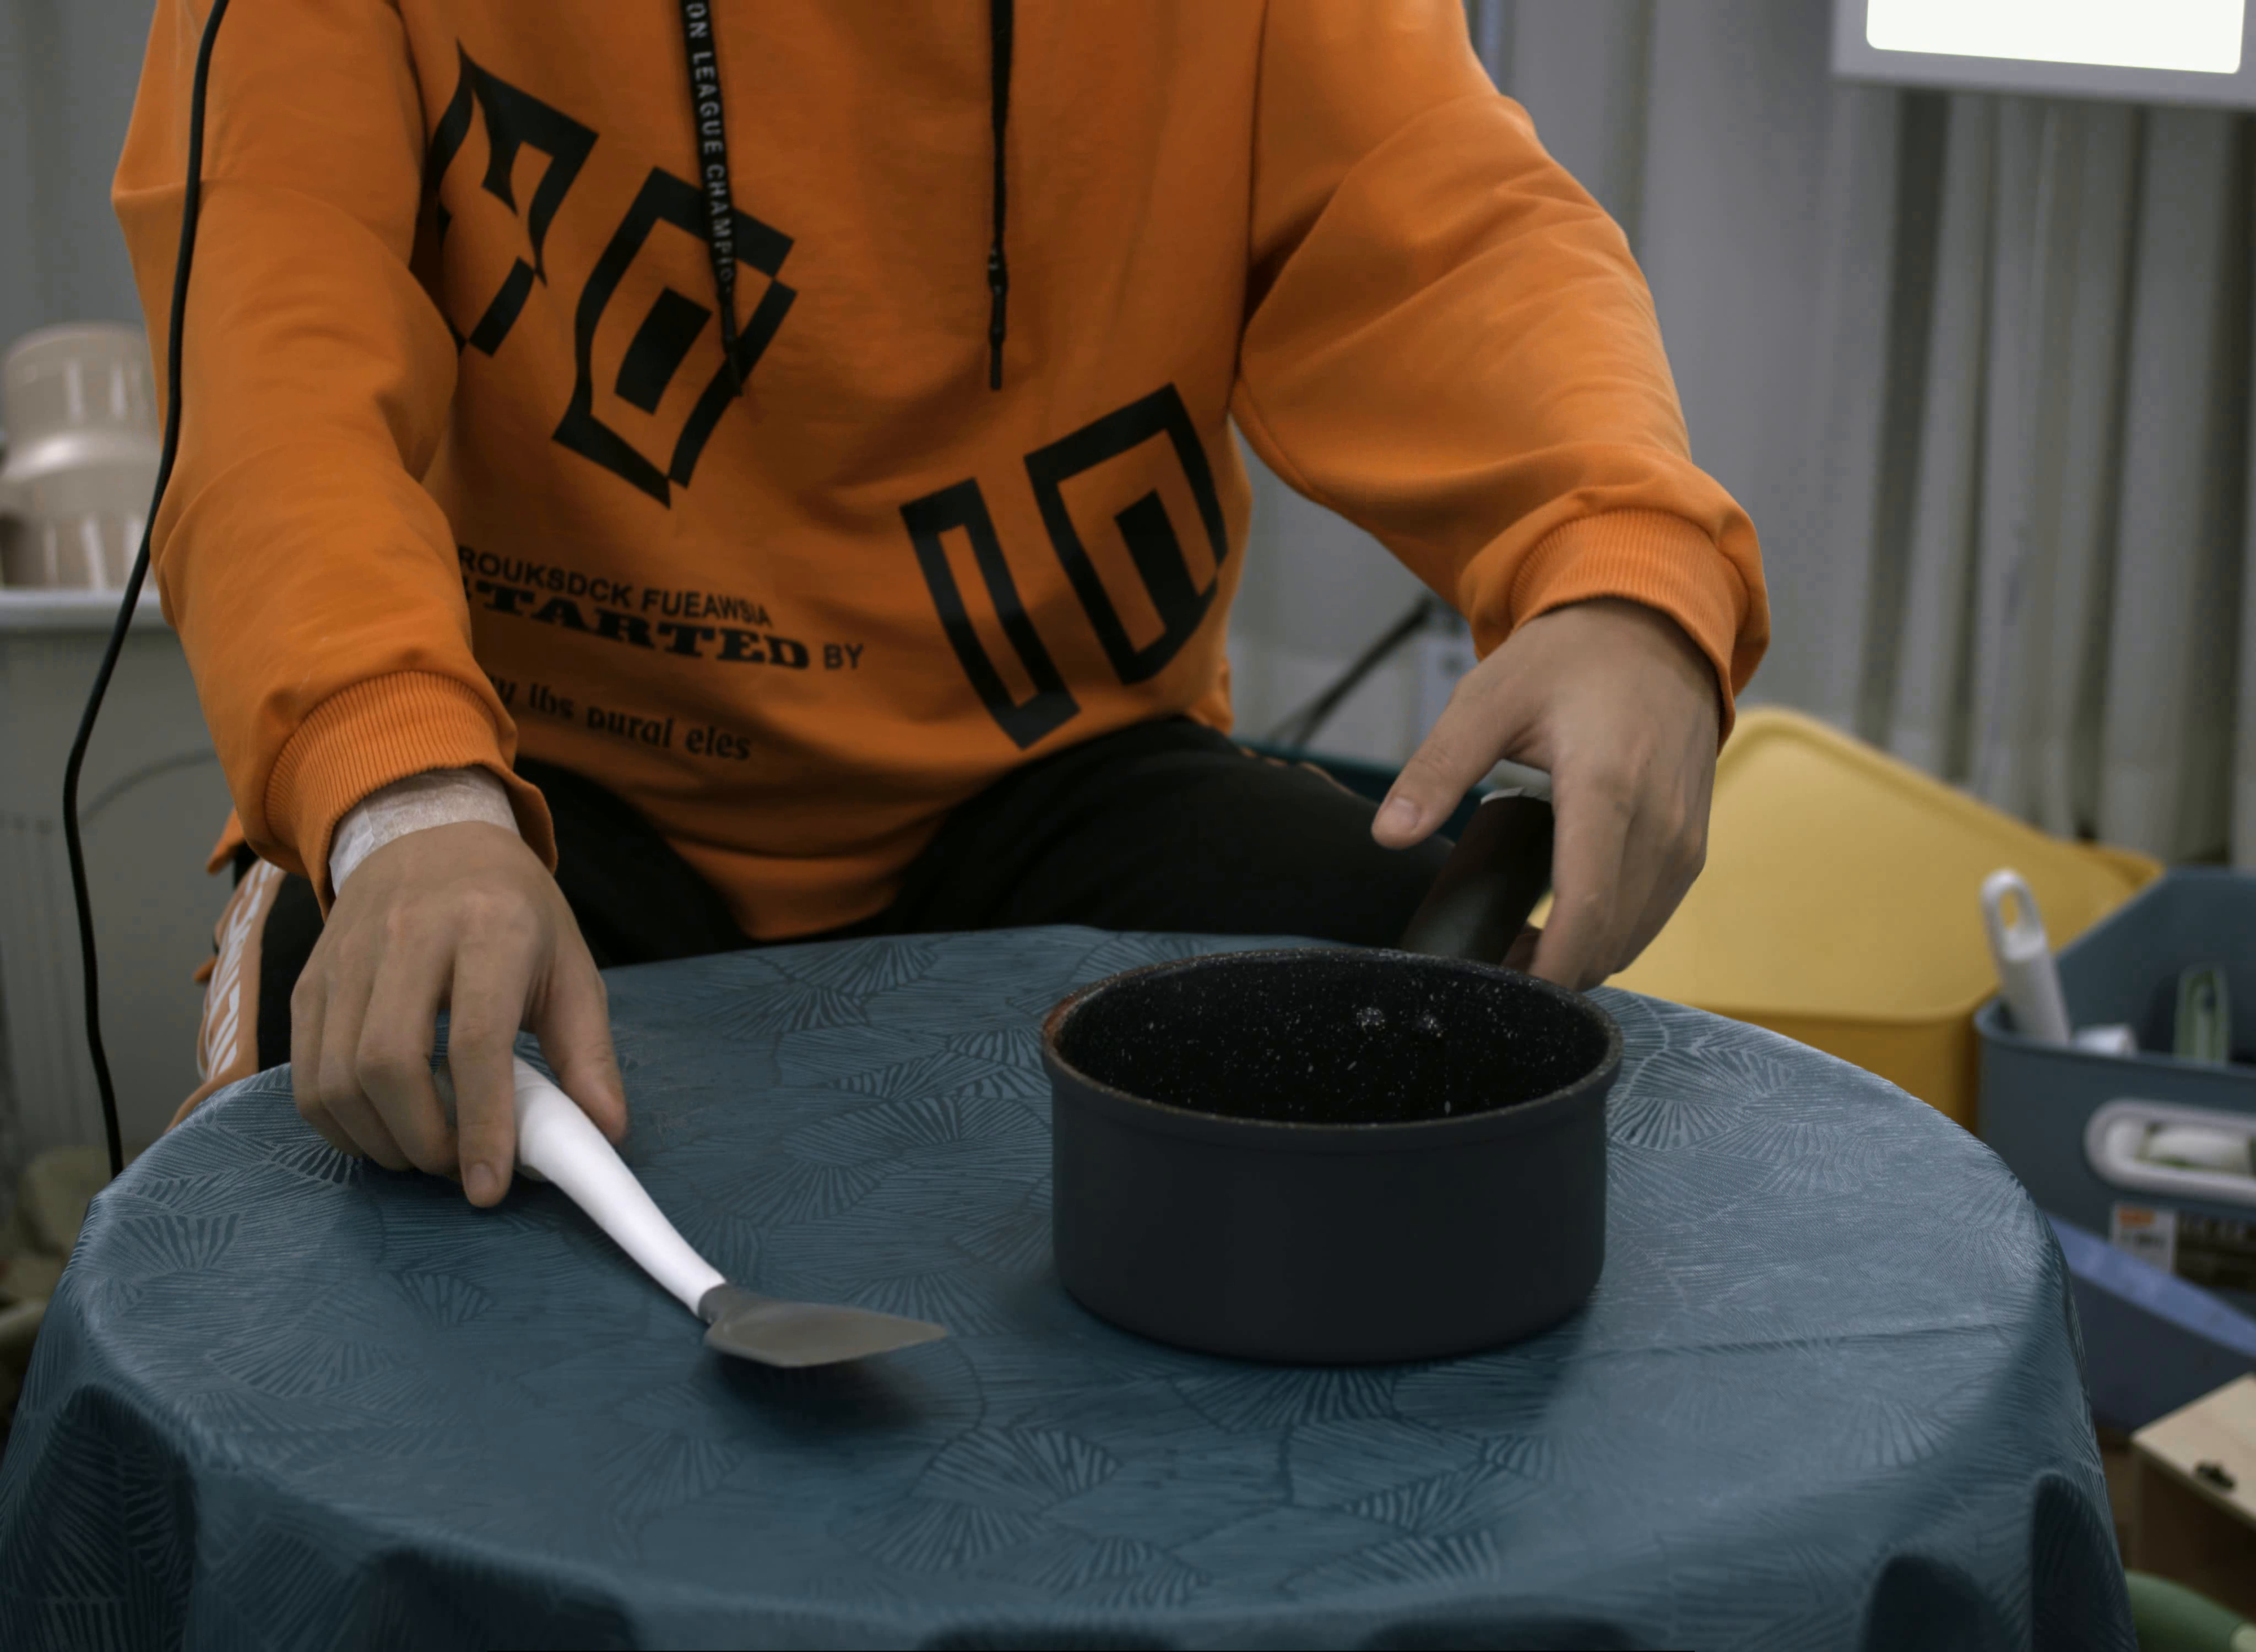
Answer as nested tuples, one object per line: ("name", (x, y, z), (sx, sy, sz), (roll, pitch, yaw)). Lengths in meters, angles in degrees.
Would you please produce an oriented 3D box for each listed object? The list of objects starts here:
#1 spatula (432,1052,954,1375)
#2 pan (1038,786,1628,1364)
("spatula", (-0.136, 0.118, 1.538), (0.059, 0.032, 0.284), (-4, 15, -29))
("pan", (0.087, 0.071, 1.613), (0.170, 0.087, 0.329), (7, 19, 19))
